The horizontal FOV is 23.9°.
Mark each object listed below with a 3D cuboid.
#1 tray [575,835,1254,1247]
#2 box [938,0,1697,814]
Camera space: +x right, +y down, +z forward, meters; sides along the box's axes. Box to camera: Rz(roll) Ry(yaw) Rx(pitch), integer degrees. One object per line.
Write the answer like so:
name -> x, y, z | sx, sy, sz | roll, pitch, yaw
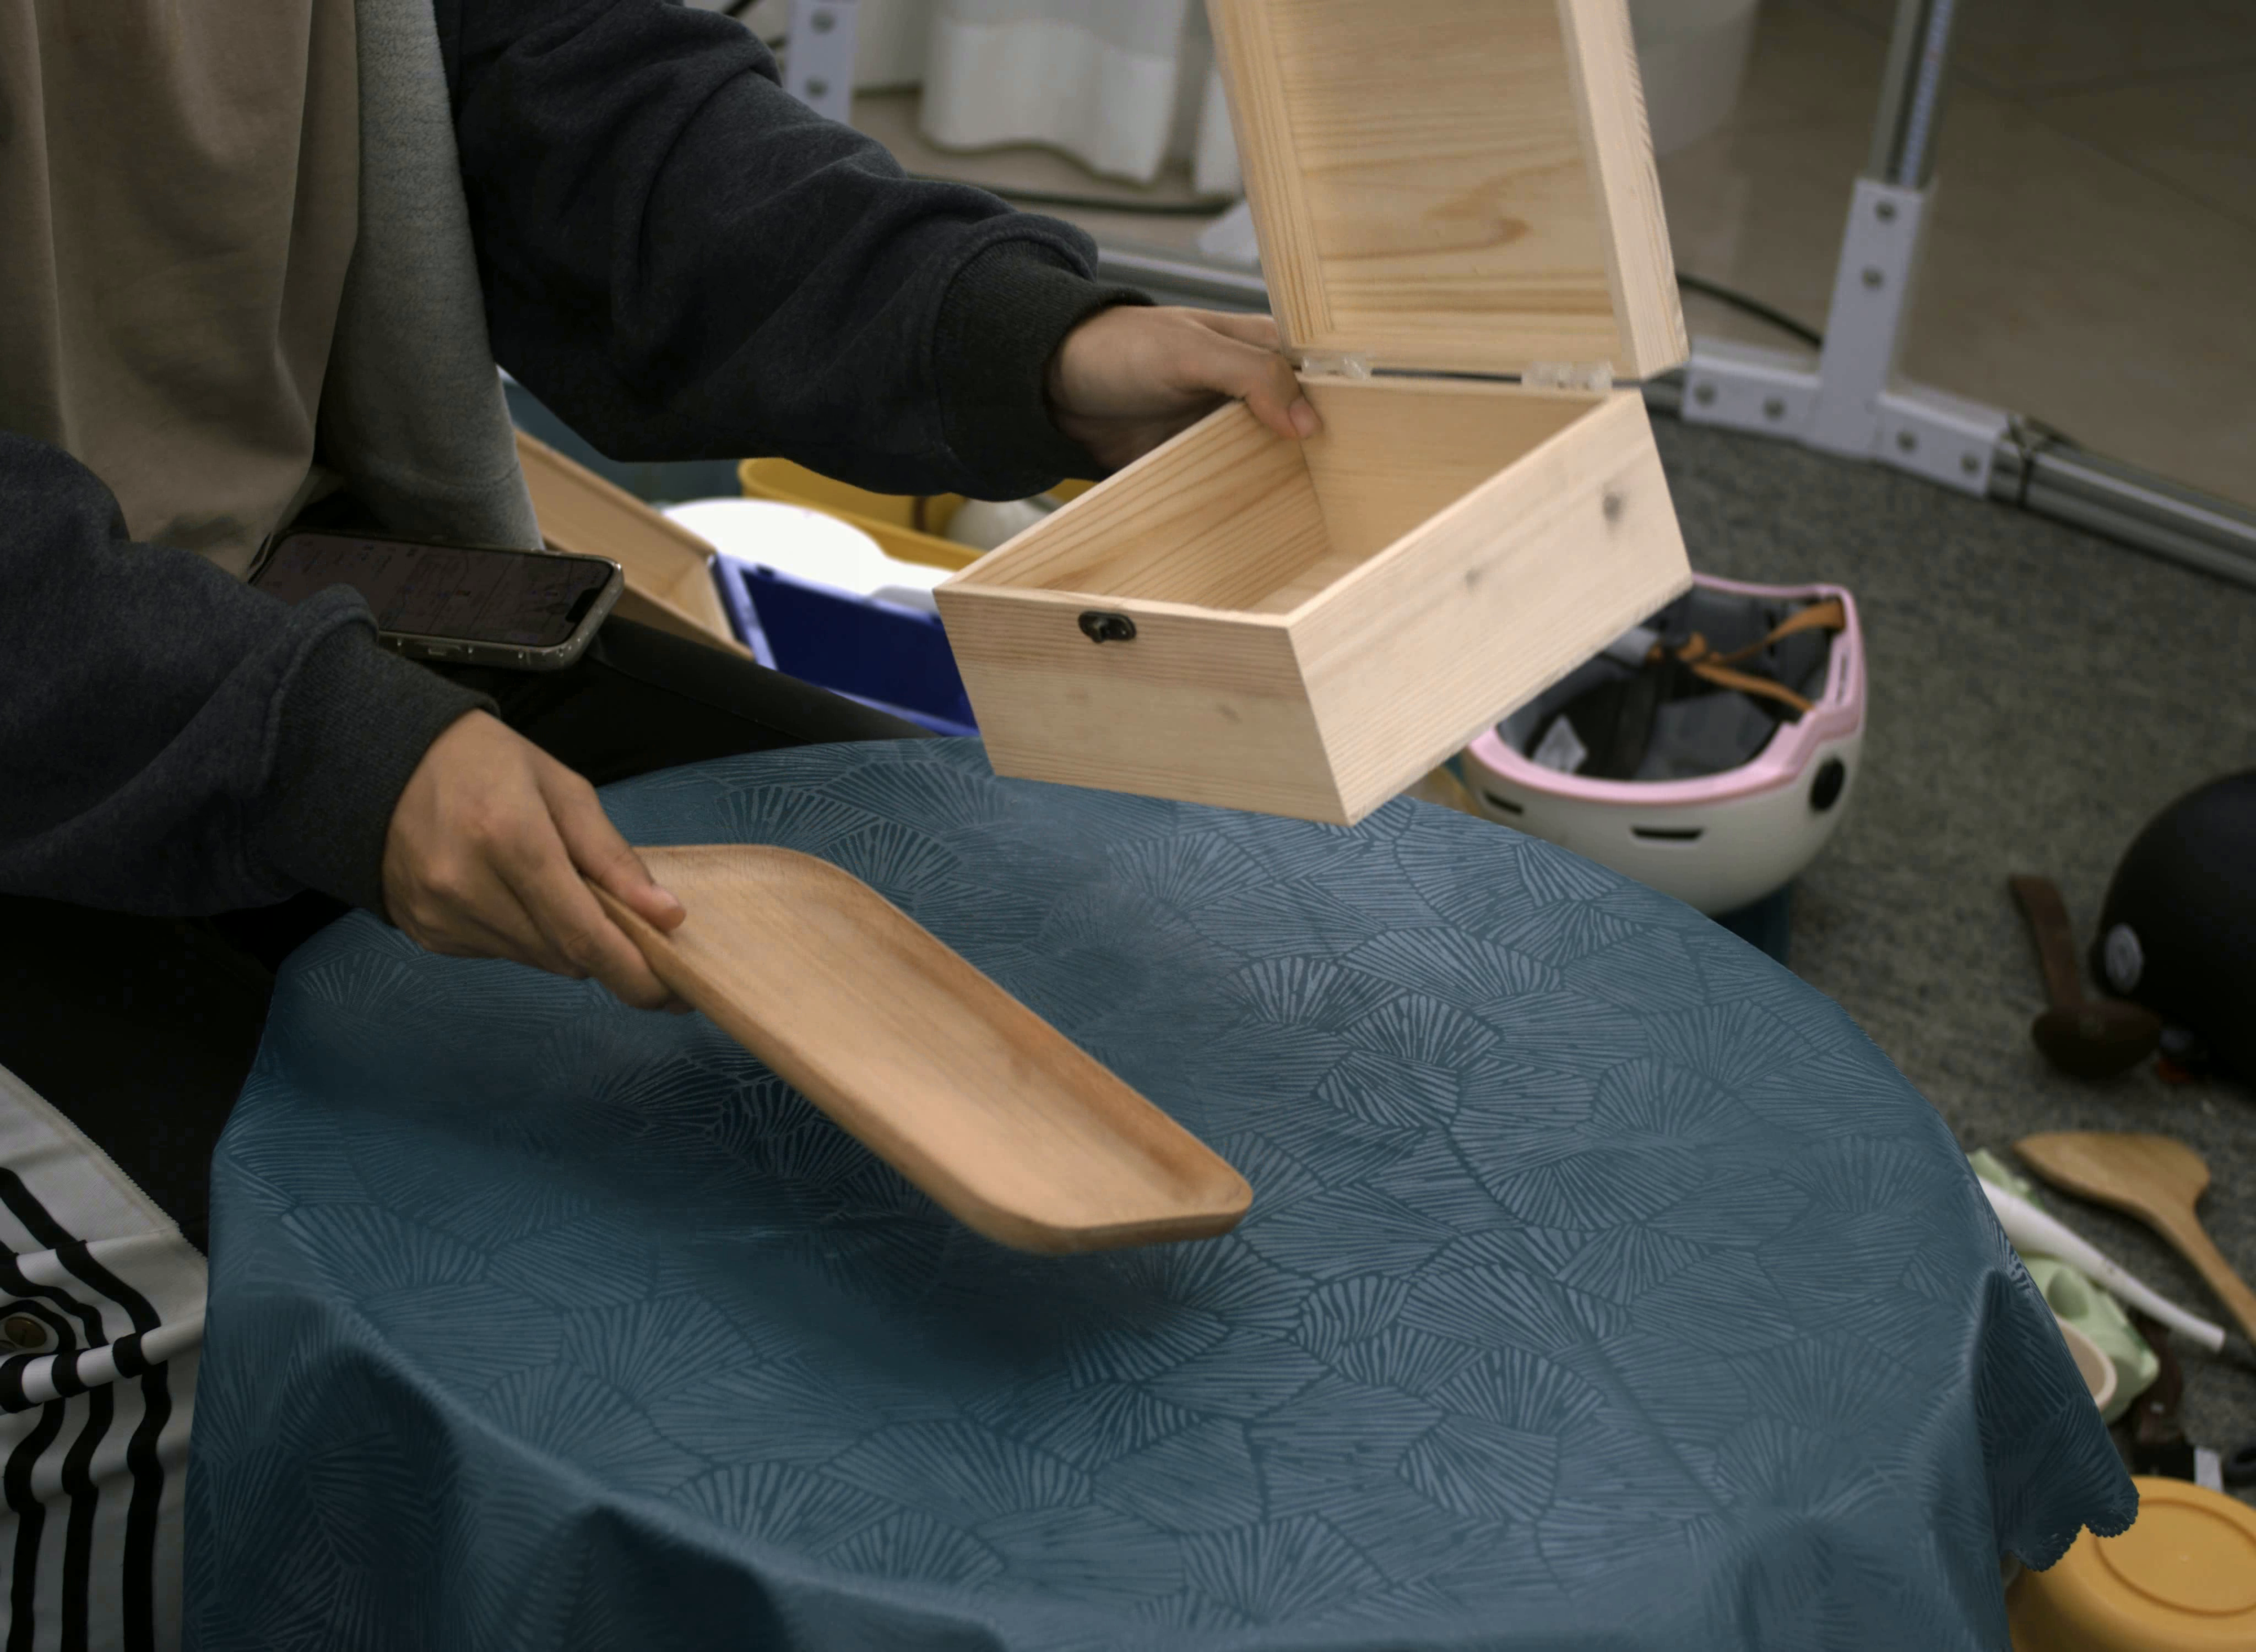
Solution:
tray -> -0.074, 0.069, 1.766 | 0.129, 0.023, 0.253 | 4, 25, -48
box -> 0.060, -0.176, 1.827 | 0.264, 0.252, 0.183 | -34, 23, -34
